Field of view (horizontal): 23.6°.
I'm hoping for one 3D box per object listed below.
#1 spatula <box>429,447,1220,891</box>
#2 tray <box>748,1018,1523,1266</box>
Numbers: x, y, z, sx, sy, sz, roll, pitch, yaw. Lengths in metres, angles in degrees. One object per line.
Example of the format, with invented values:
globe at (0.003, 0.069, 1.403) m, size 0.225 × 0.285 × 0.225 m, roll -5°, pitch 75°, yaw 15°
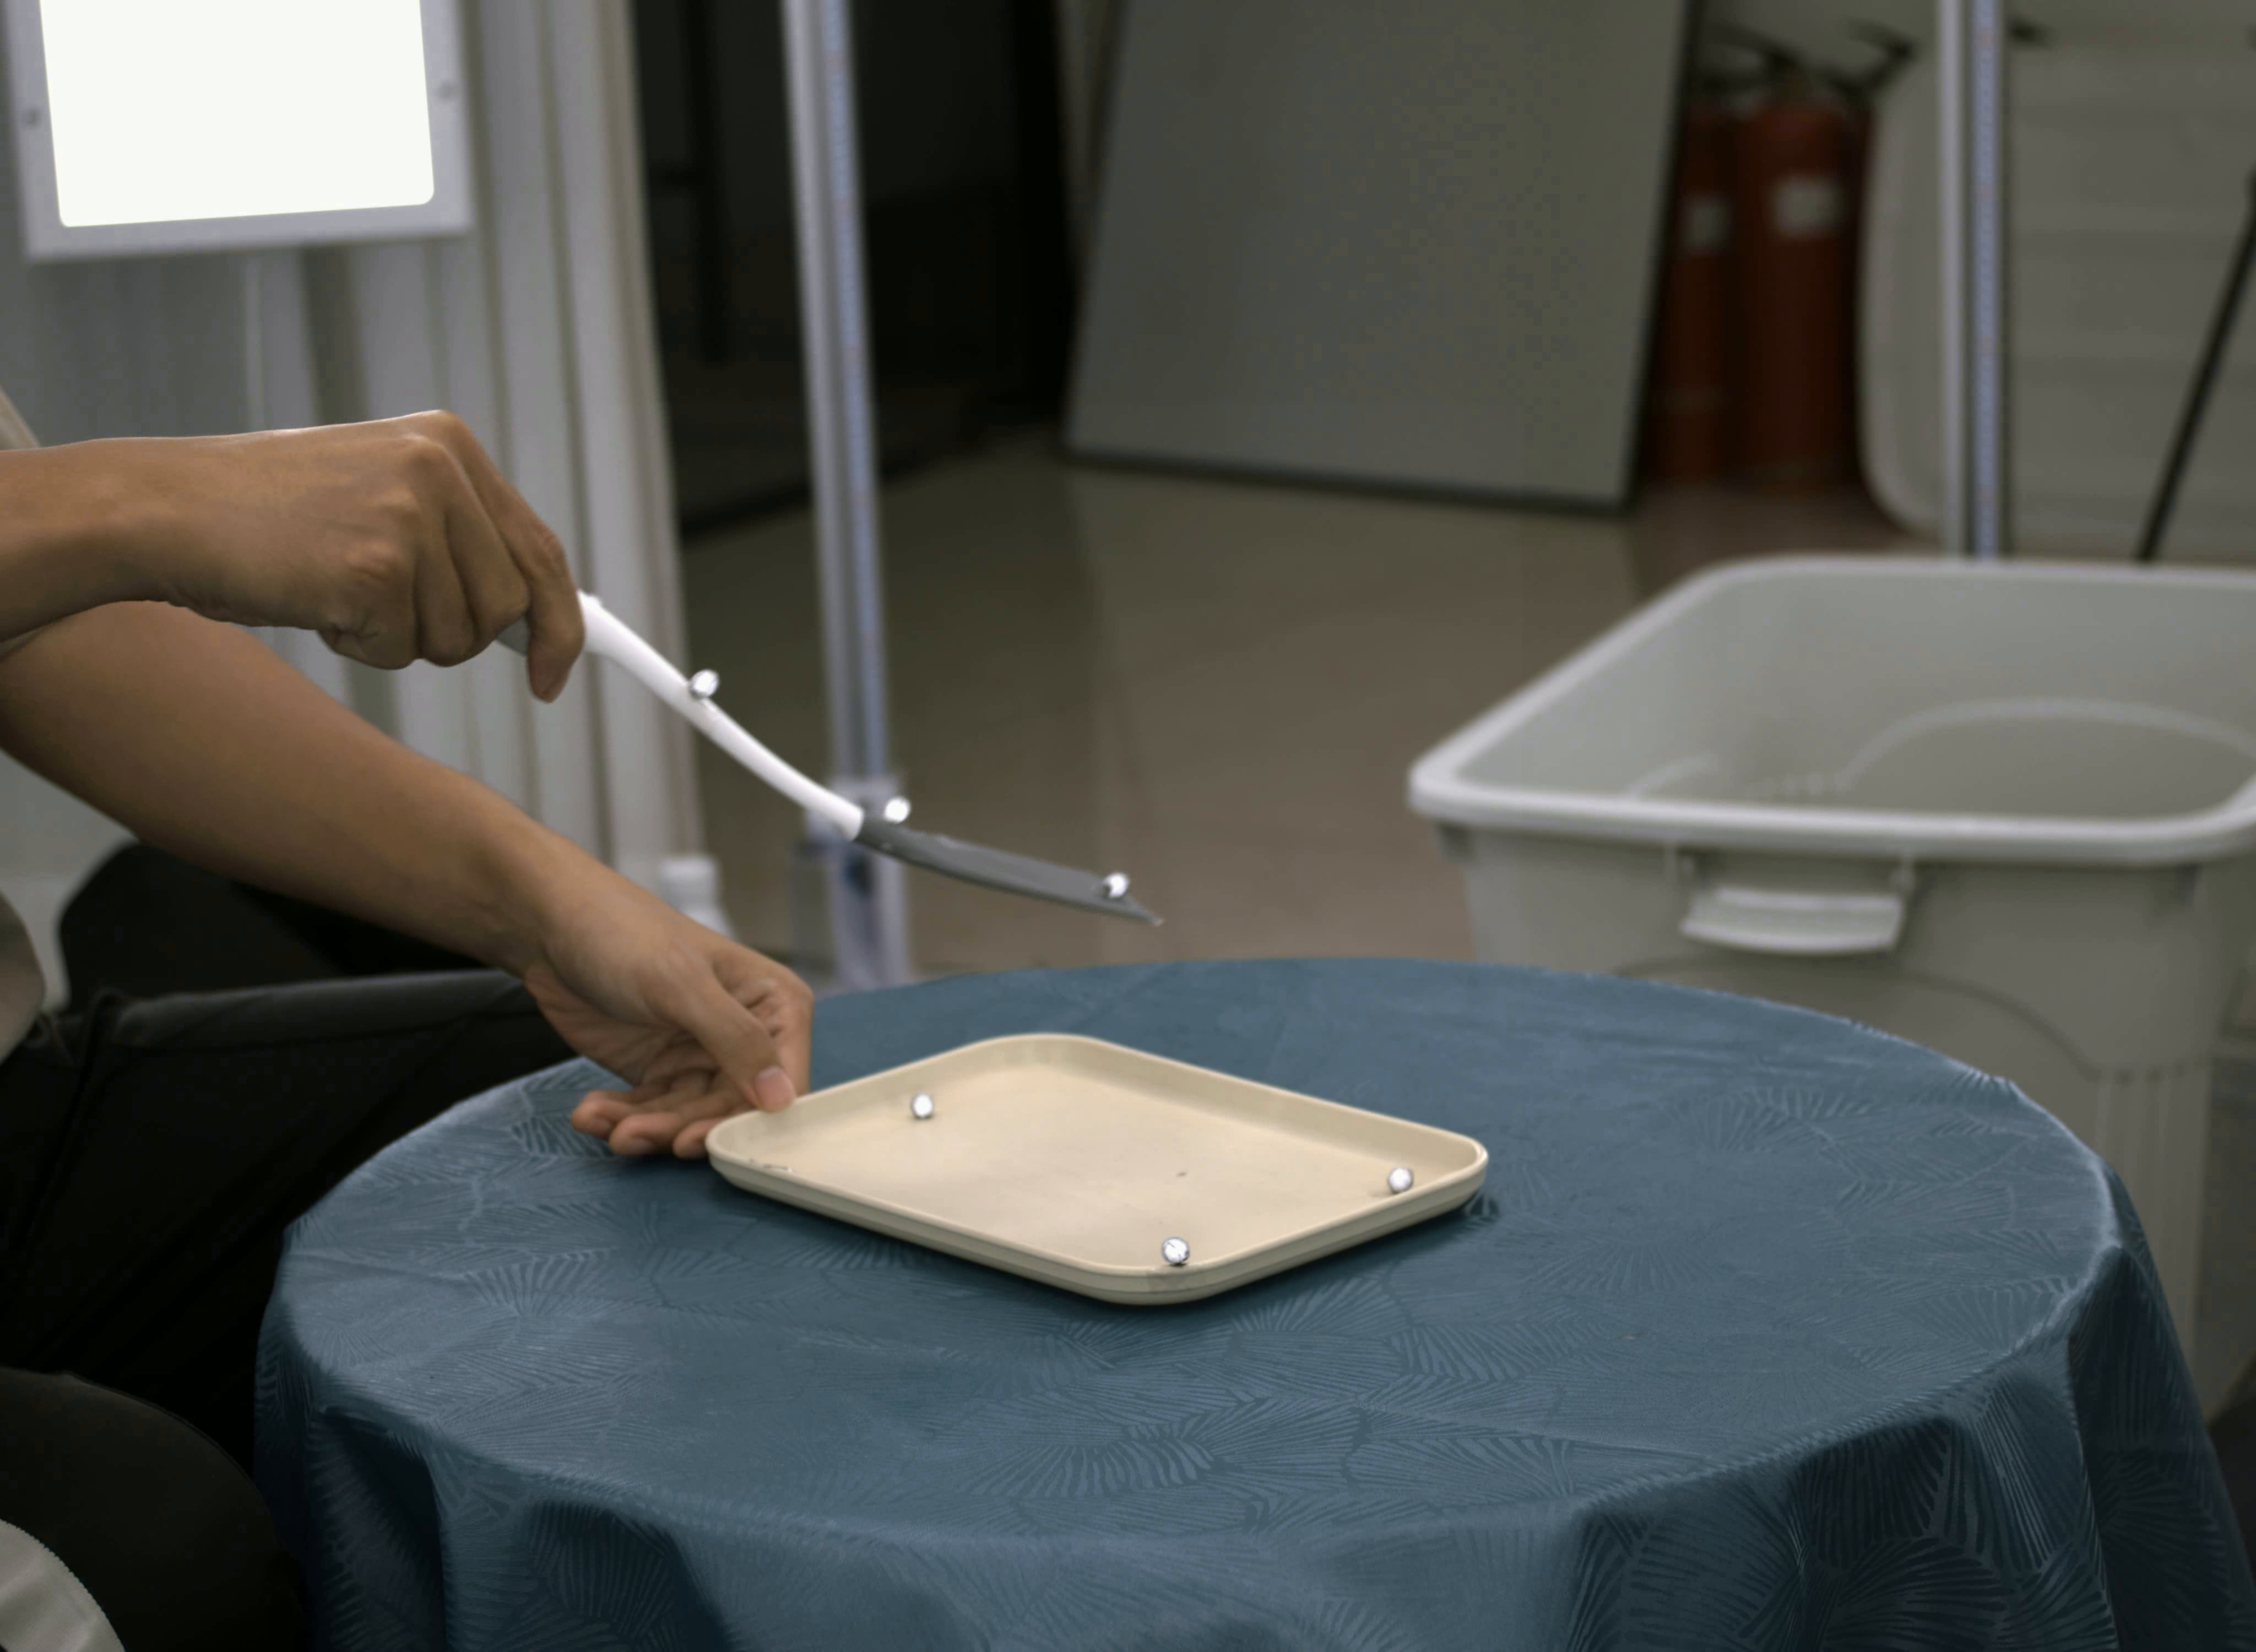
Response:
spatula at (-0.093, -0.039, 1.700) m, size 0.282 × 0.032 × 0.059 m, roll 29°, pitch -3°, yaw -26°
tray at (0.001, 0.104, 1.784) m, size 0.167 × 0.018 × 0.242 m, roll -14°, pitch 16°, yaw -40°
